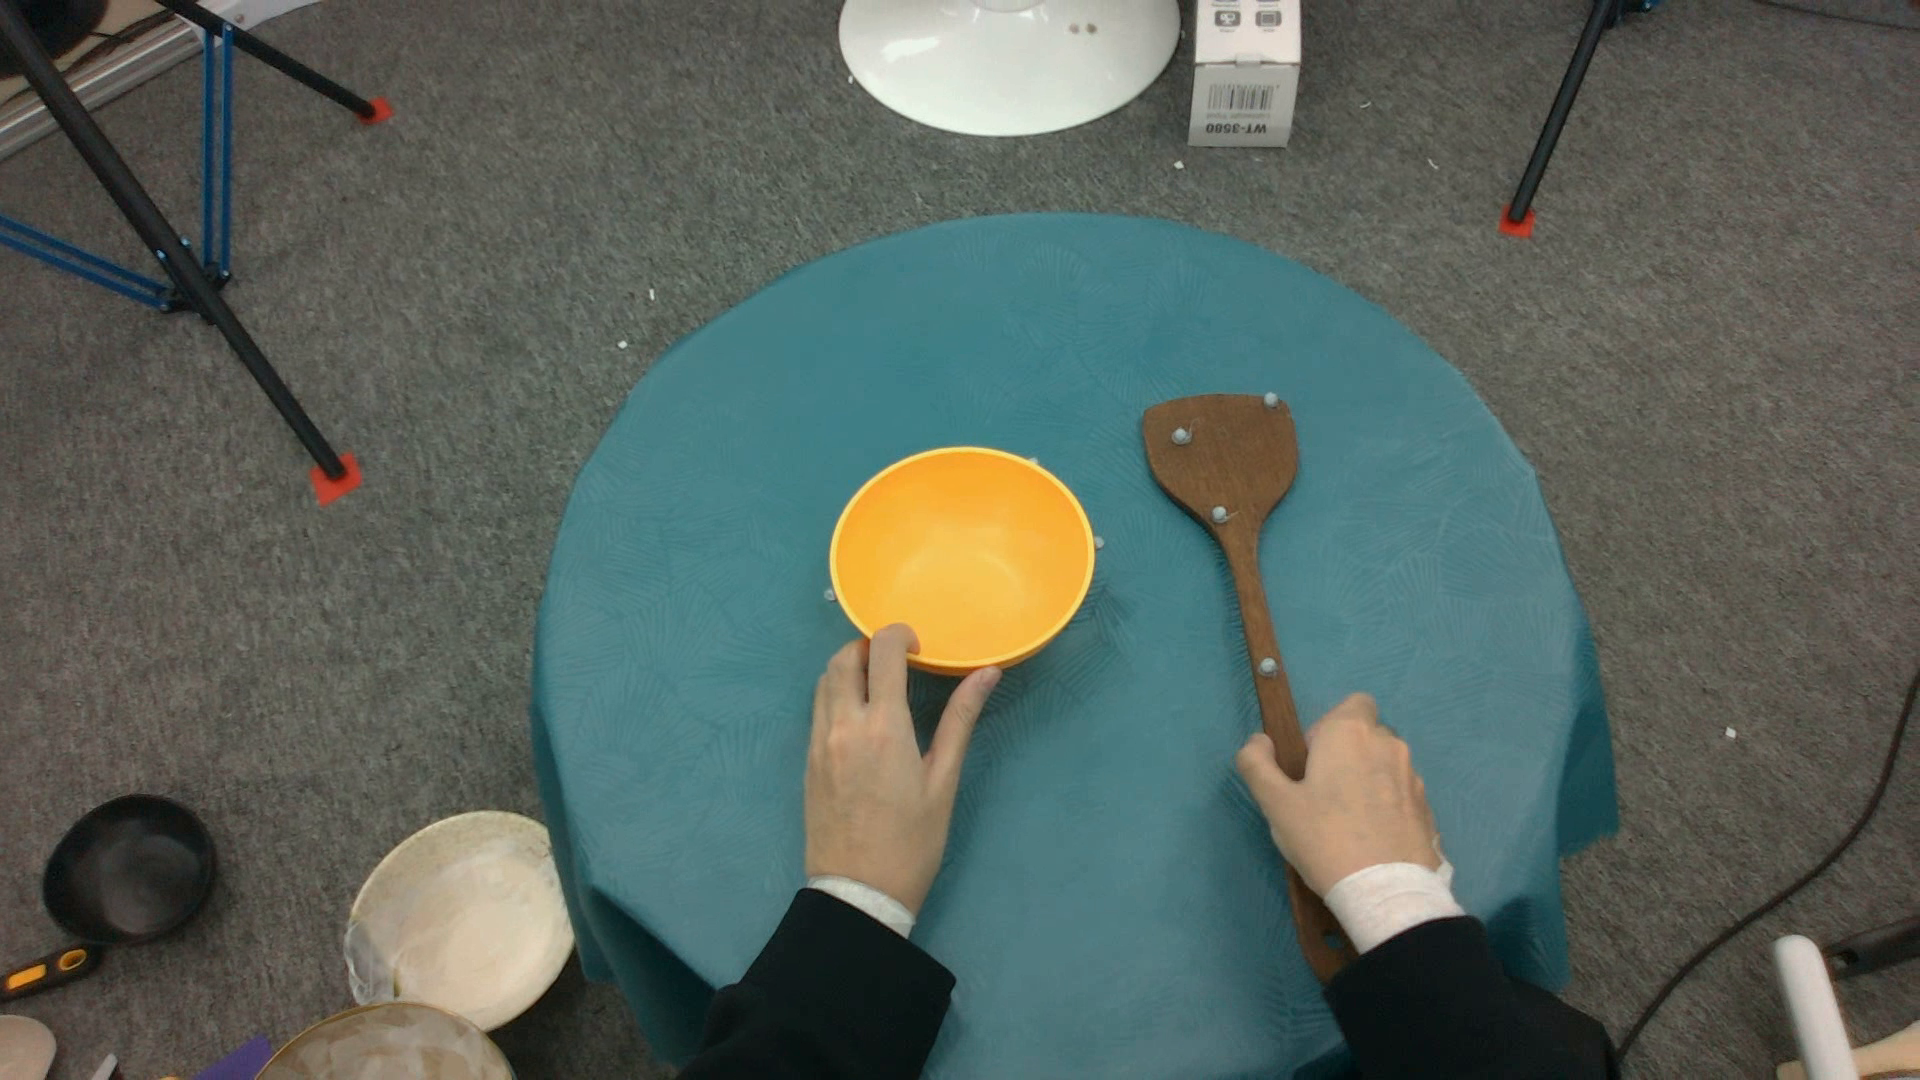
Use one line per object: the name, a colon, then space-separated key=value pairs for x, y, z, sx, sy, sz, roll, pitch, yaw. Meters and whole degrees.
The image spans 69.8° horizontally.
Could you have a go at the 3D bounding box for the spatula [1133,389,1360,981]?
spatula: x=0.162 y=0.052 z=0.750 sx=0.096 sy=0.016 sz=0.387 roll=-4 pitch=49 yaw=0

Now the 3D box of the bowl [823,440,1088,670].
bowl: x=-0.001 y=0.018 z=0.773 sx=0.145 sy=0.060 sz=0.146 roll=-2 pitch=57 yaw=3
